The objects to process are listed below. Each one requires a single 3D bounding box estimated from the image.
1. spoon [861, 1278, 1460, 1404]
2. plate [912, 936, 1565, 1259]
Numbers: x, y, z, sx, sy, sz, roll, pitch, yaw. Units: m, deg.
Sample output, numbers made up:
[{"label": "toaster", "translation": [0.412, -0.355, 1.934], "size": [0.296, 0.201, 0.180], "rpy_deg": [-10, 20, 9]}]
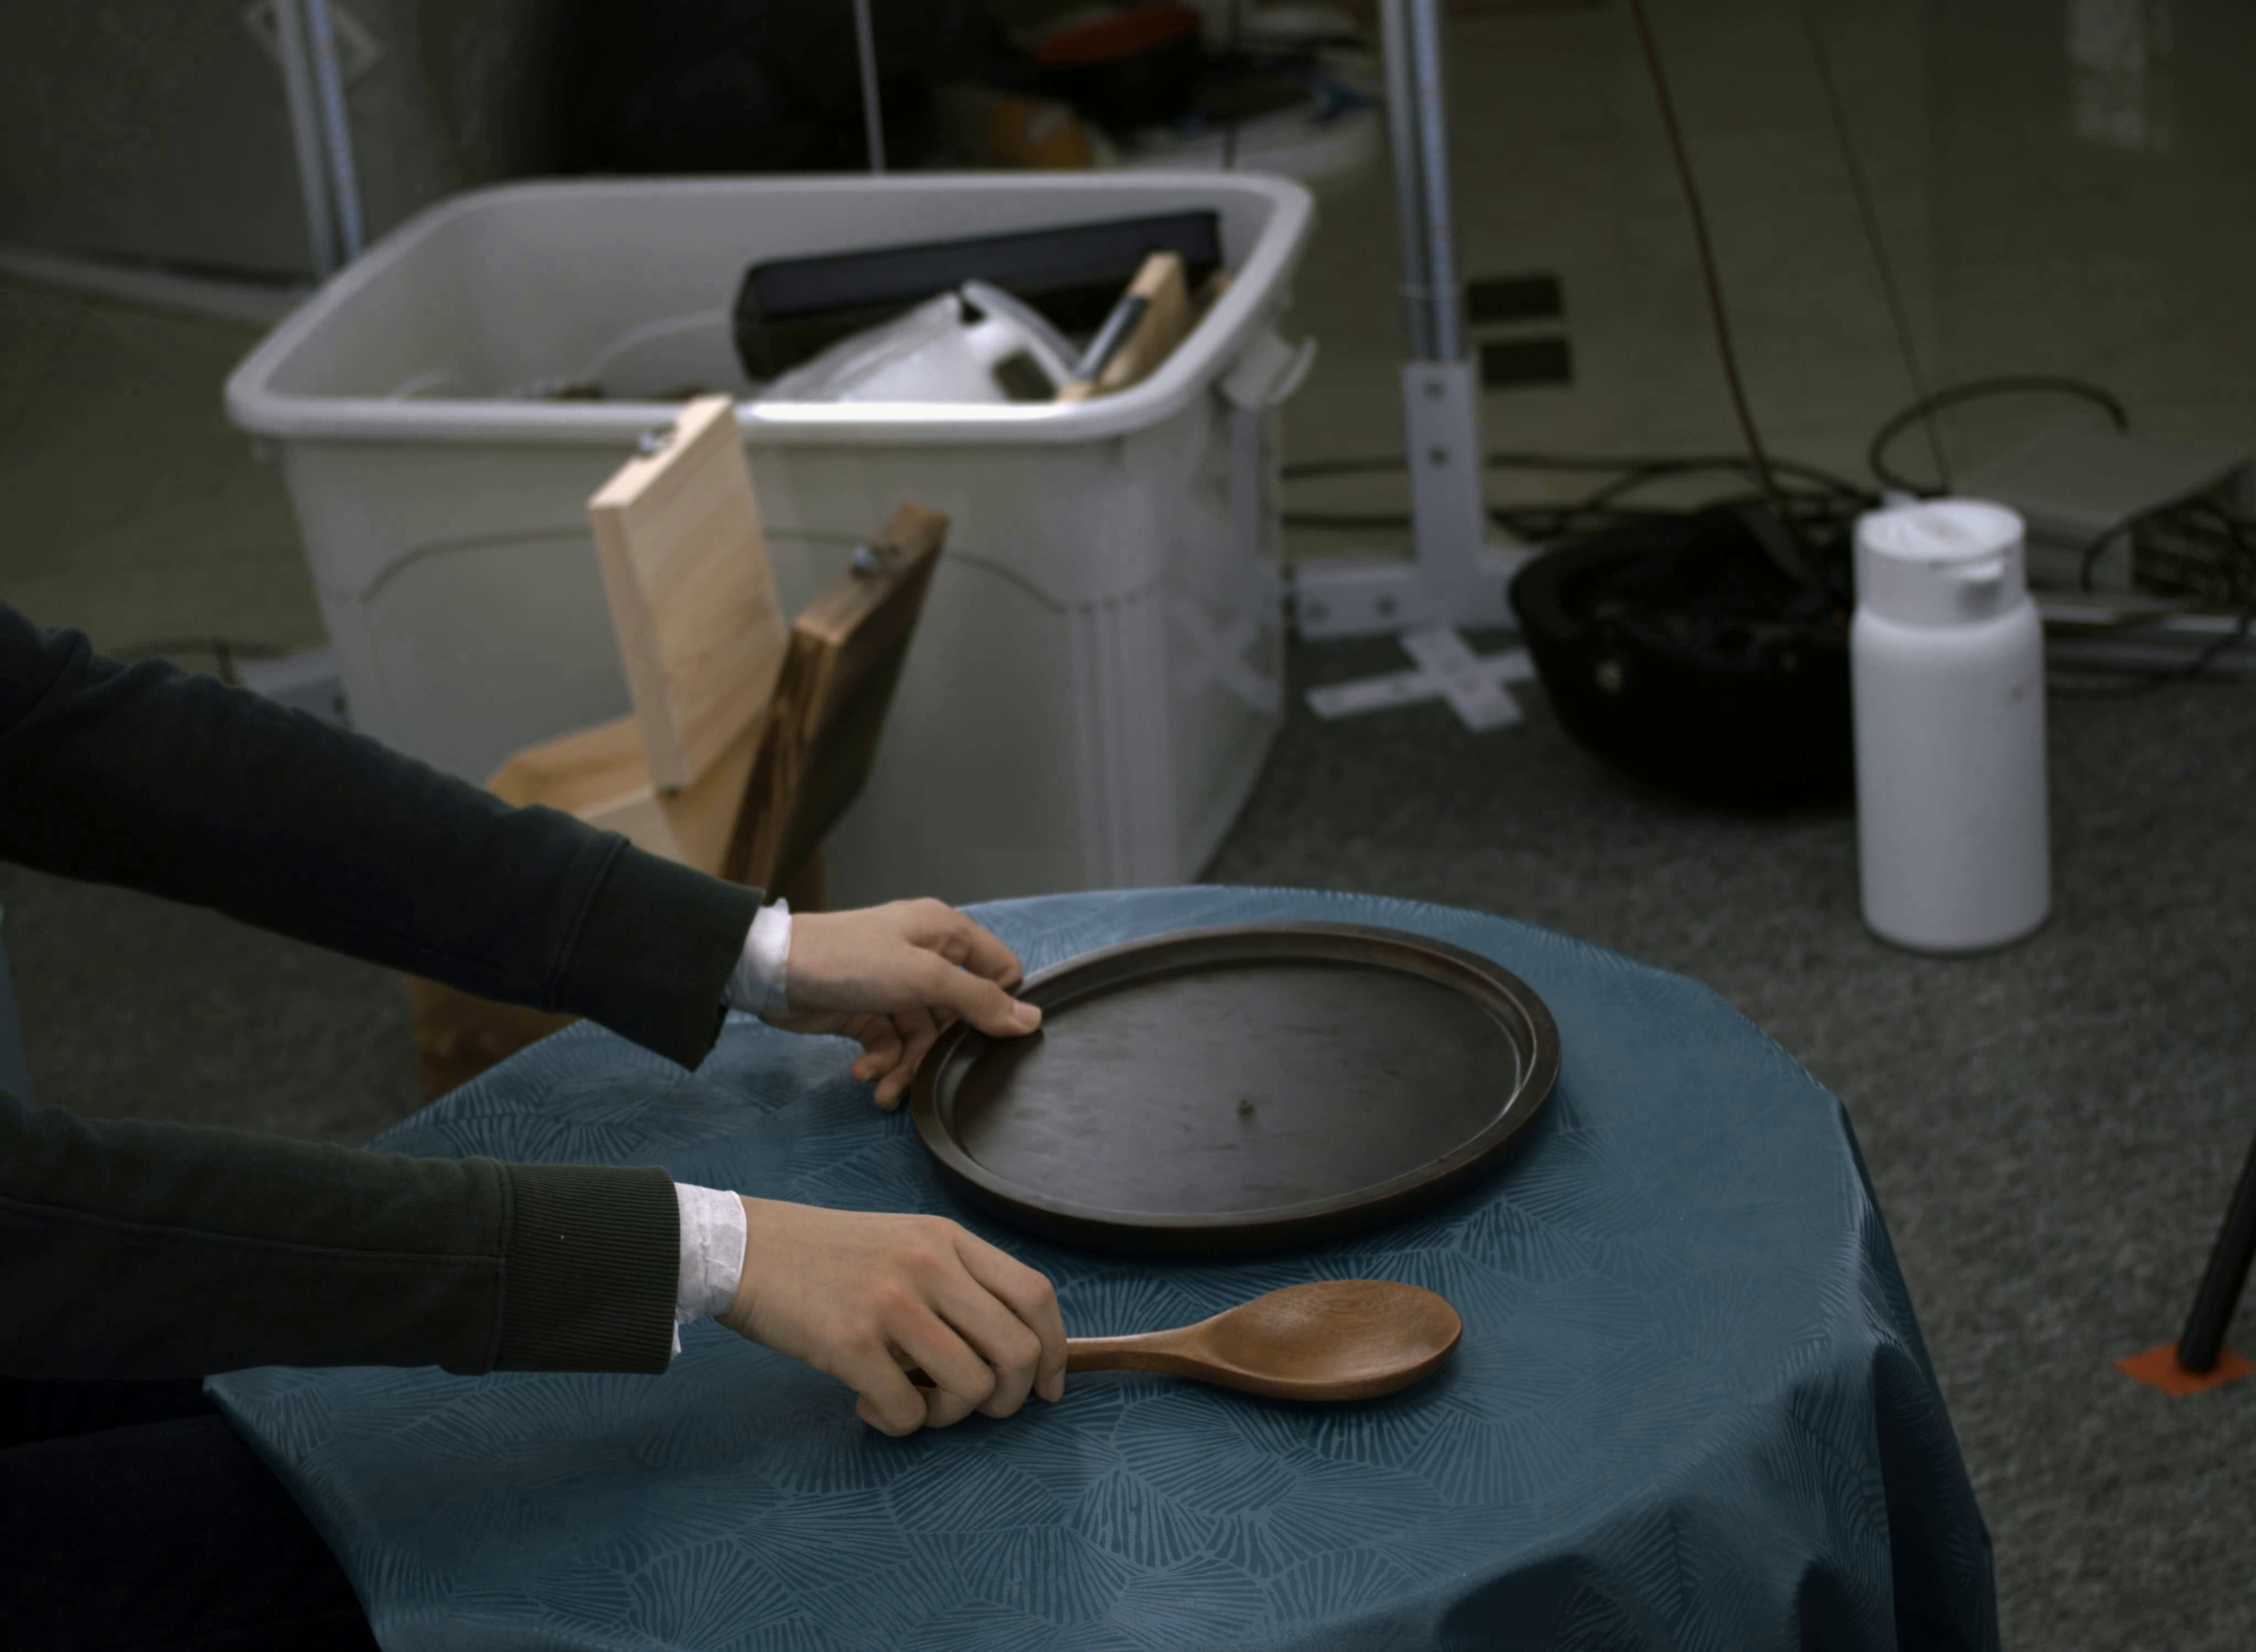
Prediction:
[{"label": "spoon", "translation": [0.011, 0.188, 2.024], "size": [0.215, 0.017, 0.074], "rpy_deg": [-3, 26, 8]}, {"label": "plate", "translation": [0.043, 0.103, 2.193], "size": [0.254, 0.029, 0.251], "rpy_deg": [-4, 24, 2]}]
